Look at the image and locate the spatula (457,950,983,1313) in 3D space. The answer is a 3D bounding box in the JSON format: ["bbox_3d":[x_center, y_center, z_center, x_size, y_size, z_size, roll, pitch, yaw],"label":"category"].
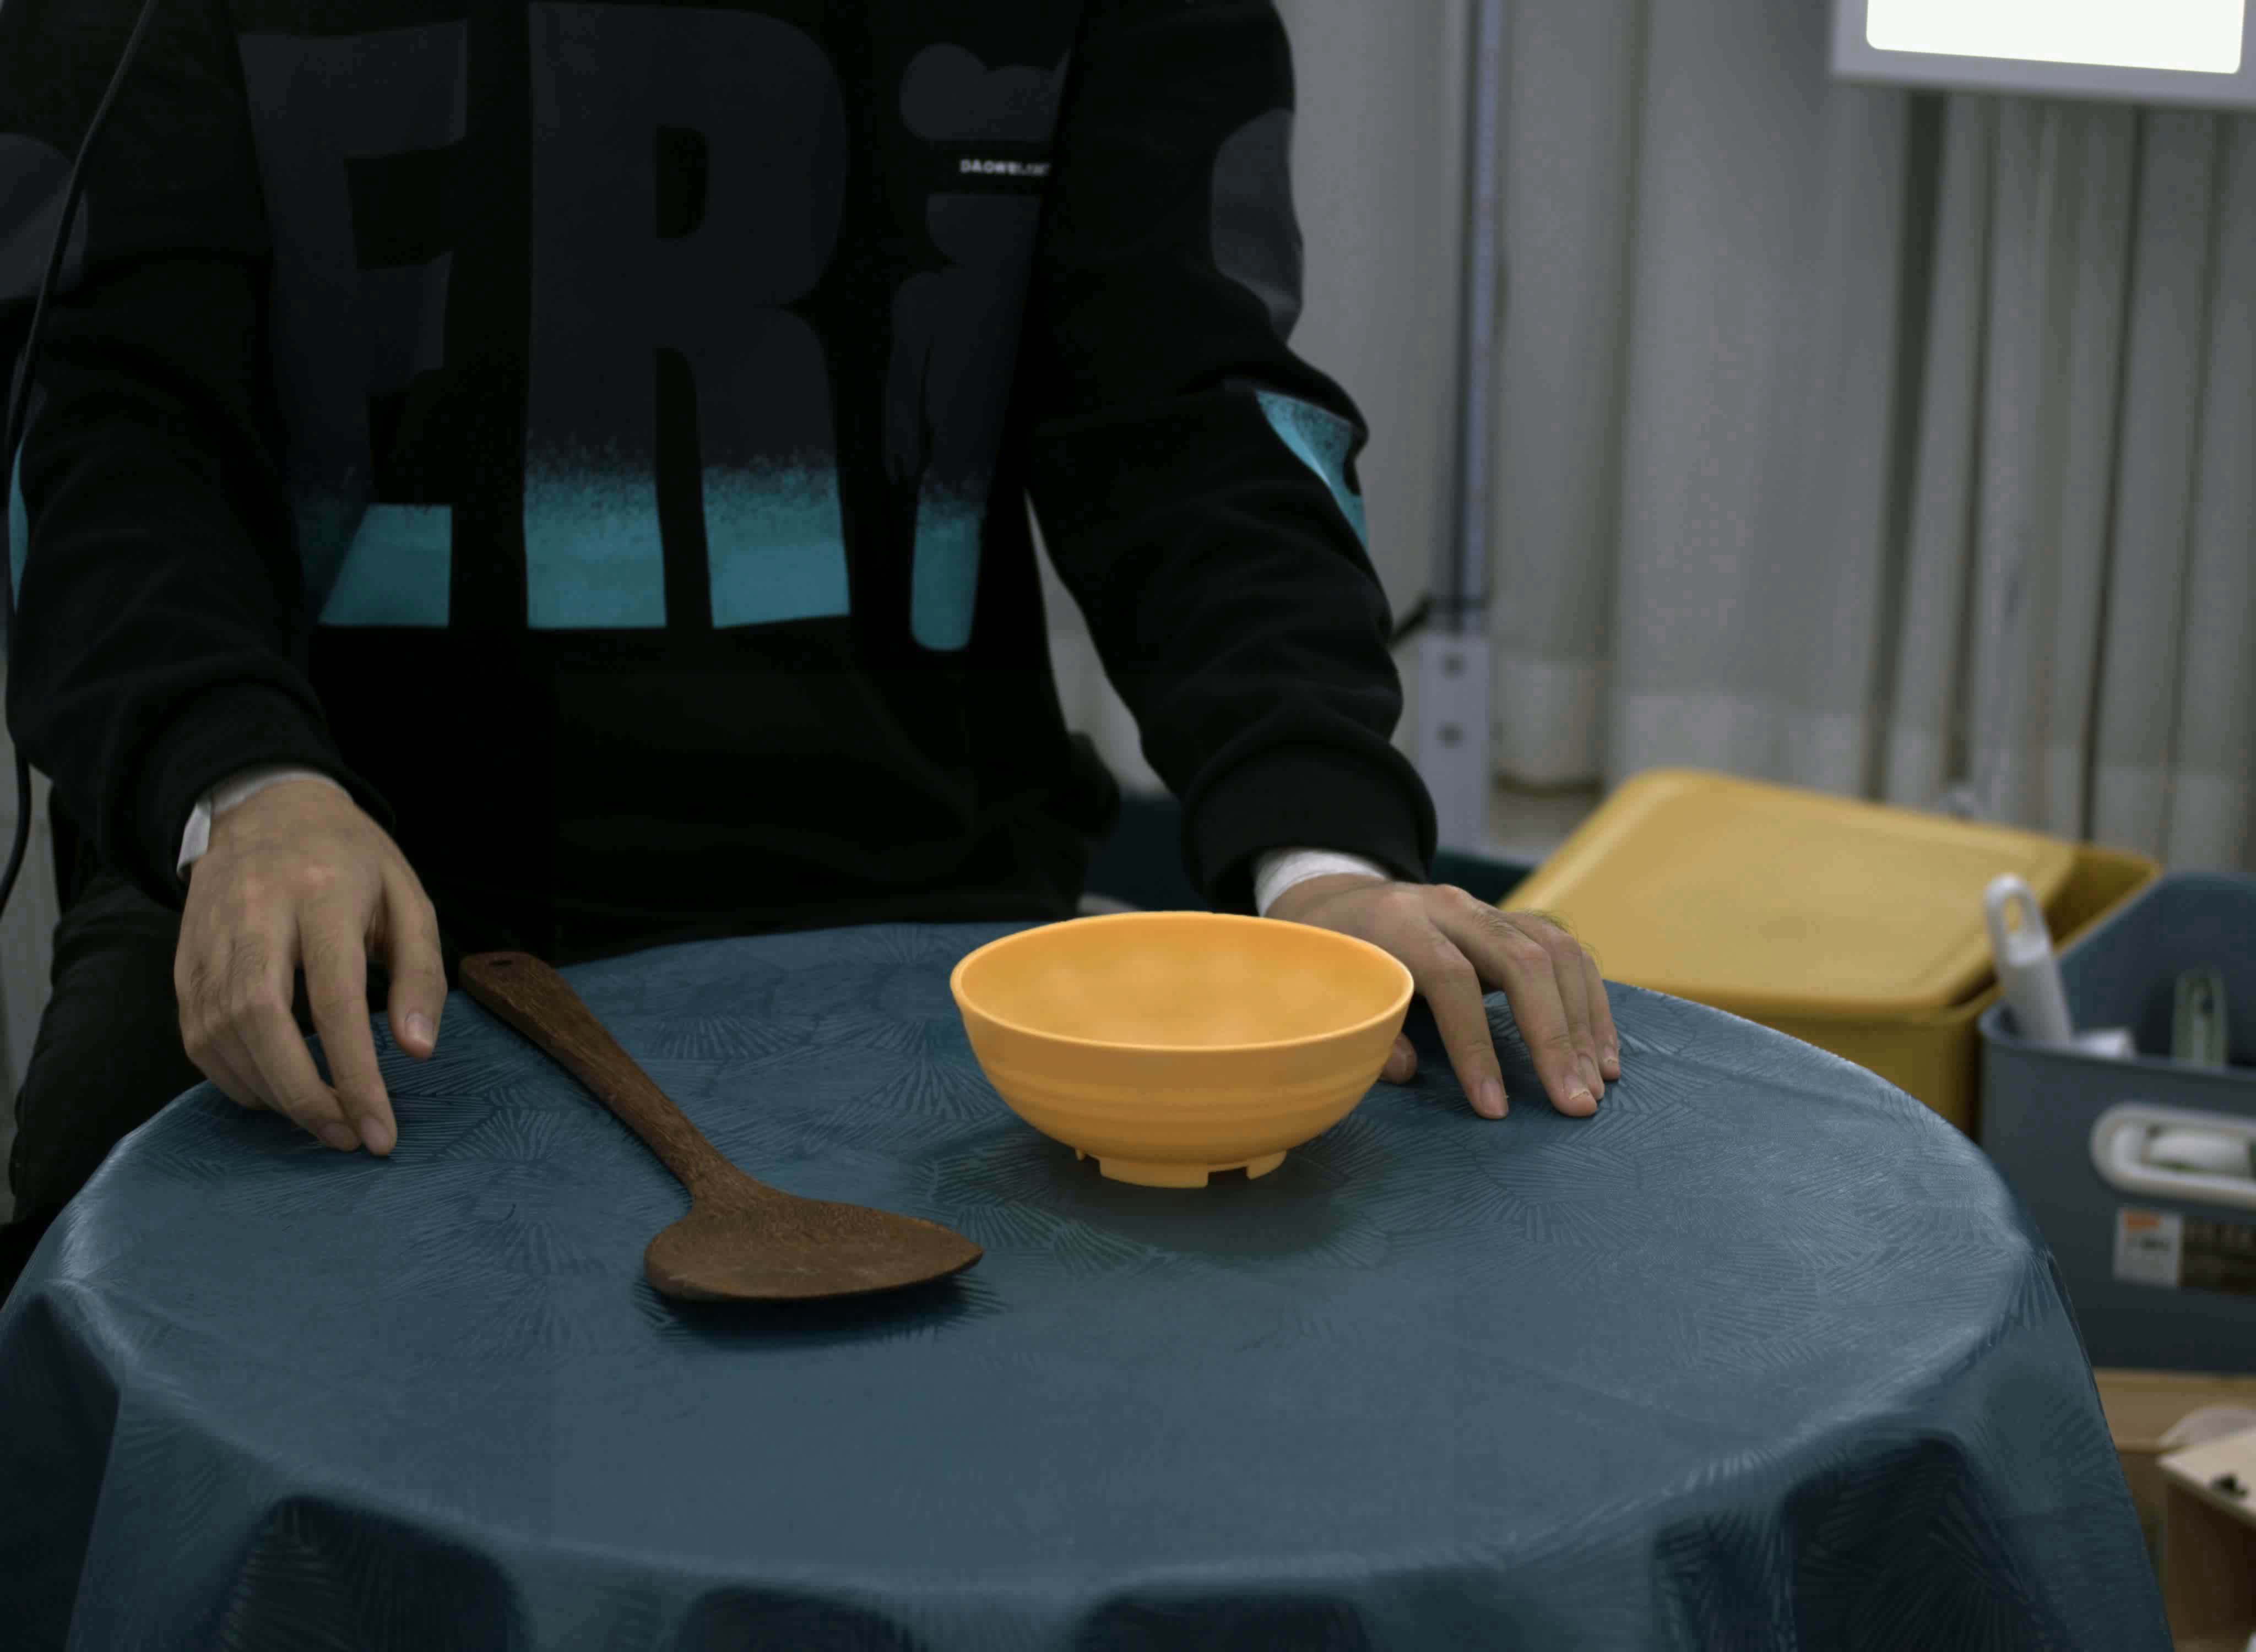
[{"bbox_3d":[-0.152,0.091,1.672,0.096,0.016,0.381,-6,17,-22],"label":"spatula"}]

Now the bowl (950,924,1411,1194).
[{"bbox_3d":[0.016,0.077,1.651,0.145,0.060,0.144,2,14,0],"label":"bowl"}]
